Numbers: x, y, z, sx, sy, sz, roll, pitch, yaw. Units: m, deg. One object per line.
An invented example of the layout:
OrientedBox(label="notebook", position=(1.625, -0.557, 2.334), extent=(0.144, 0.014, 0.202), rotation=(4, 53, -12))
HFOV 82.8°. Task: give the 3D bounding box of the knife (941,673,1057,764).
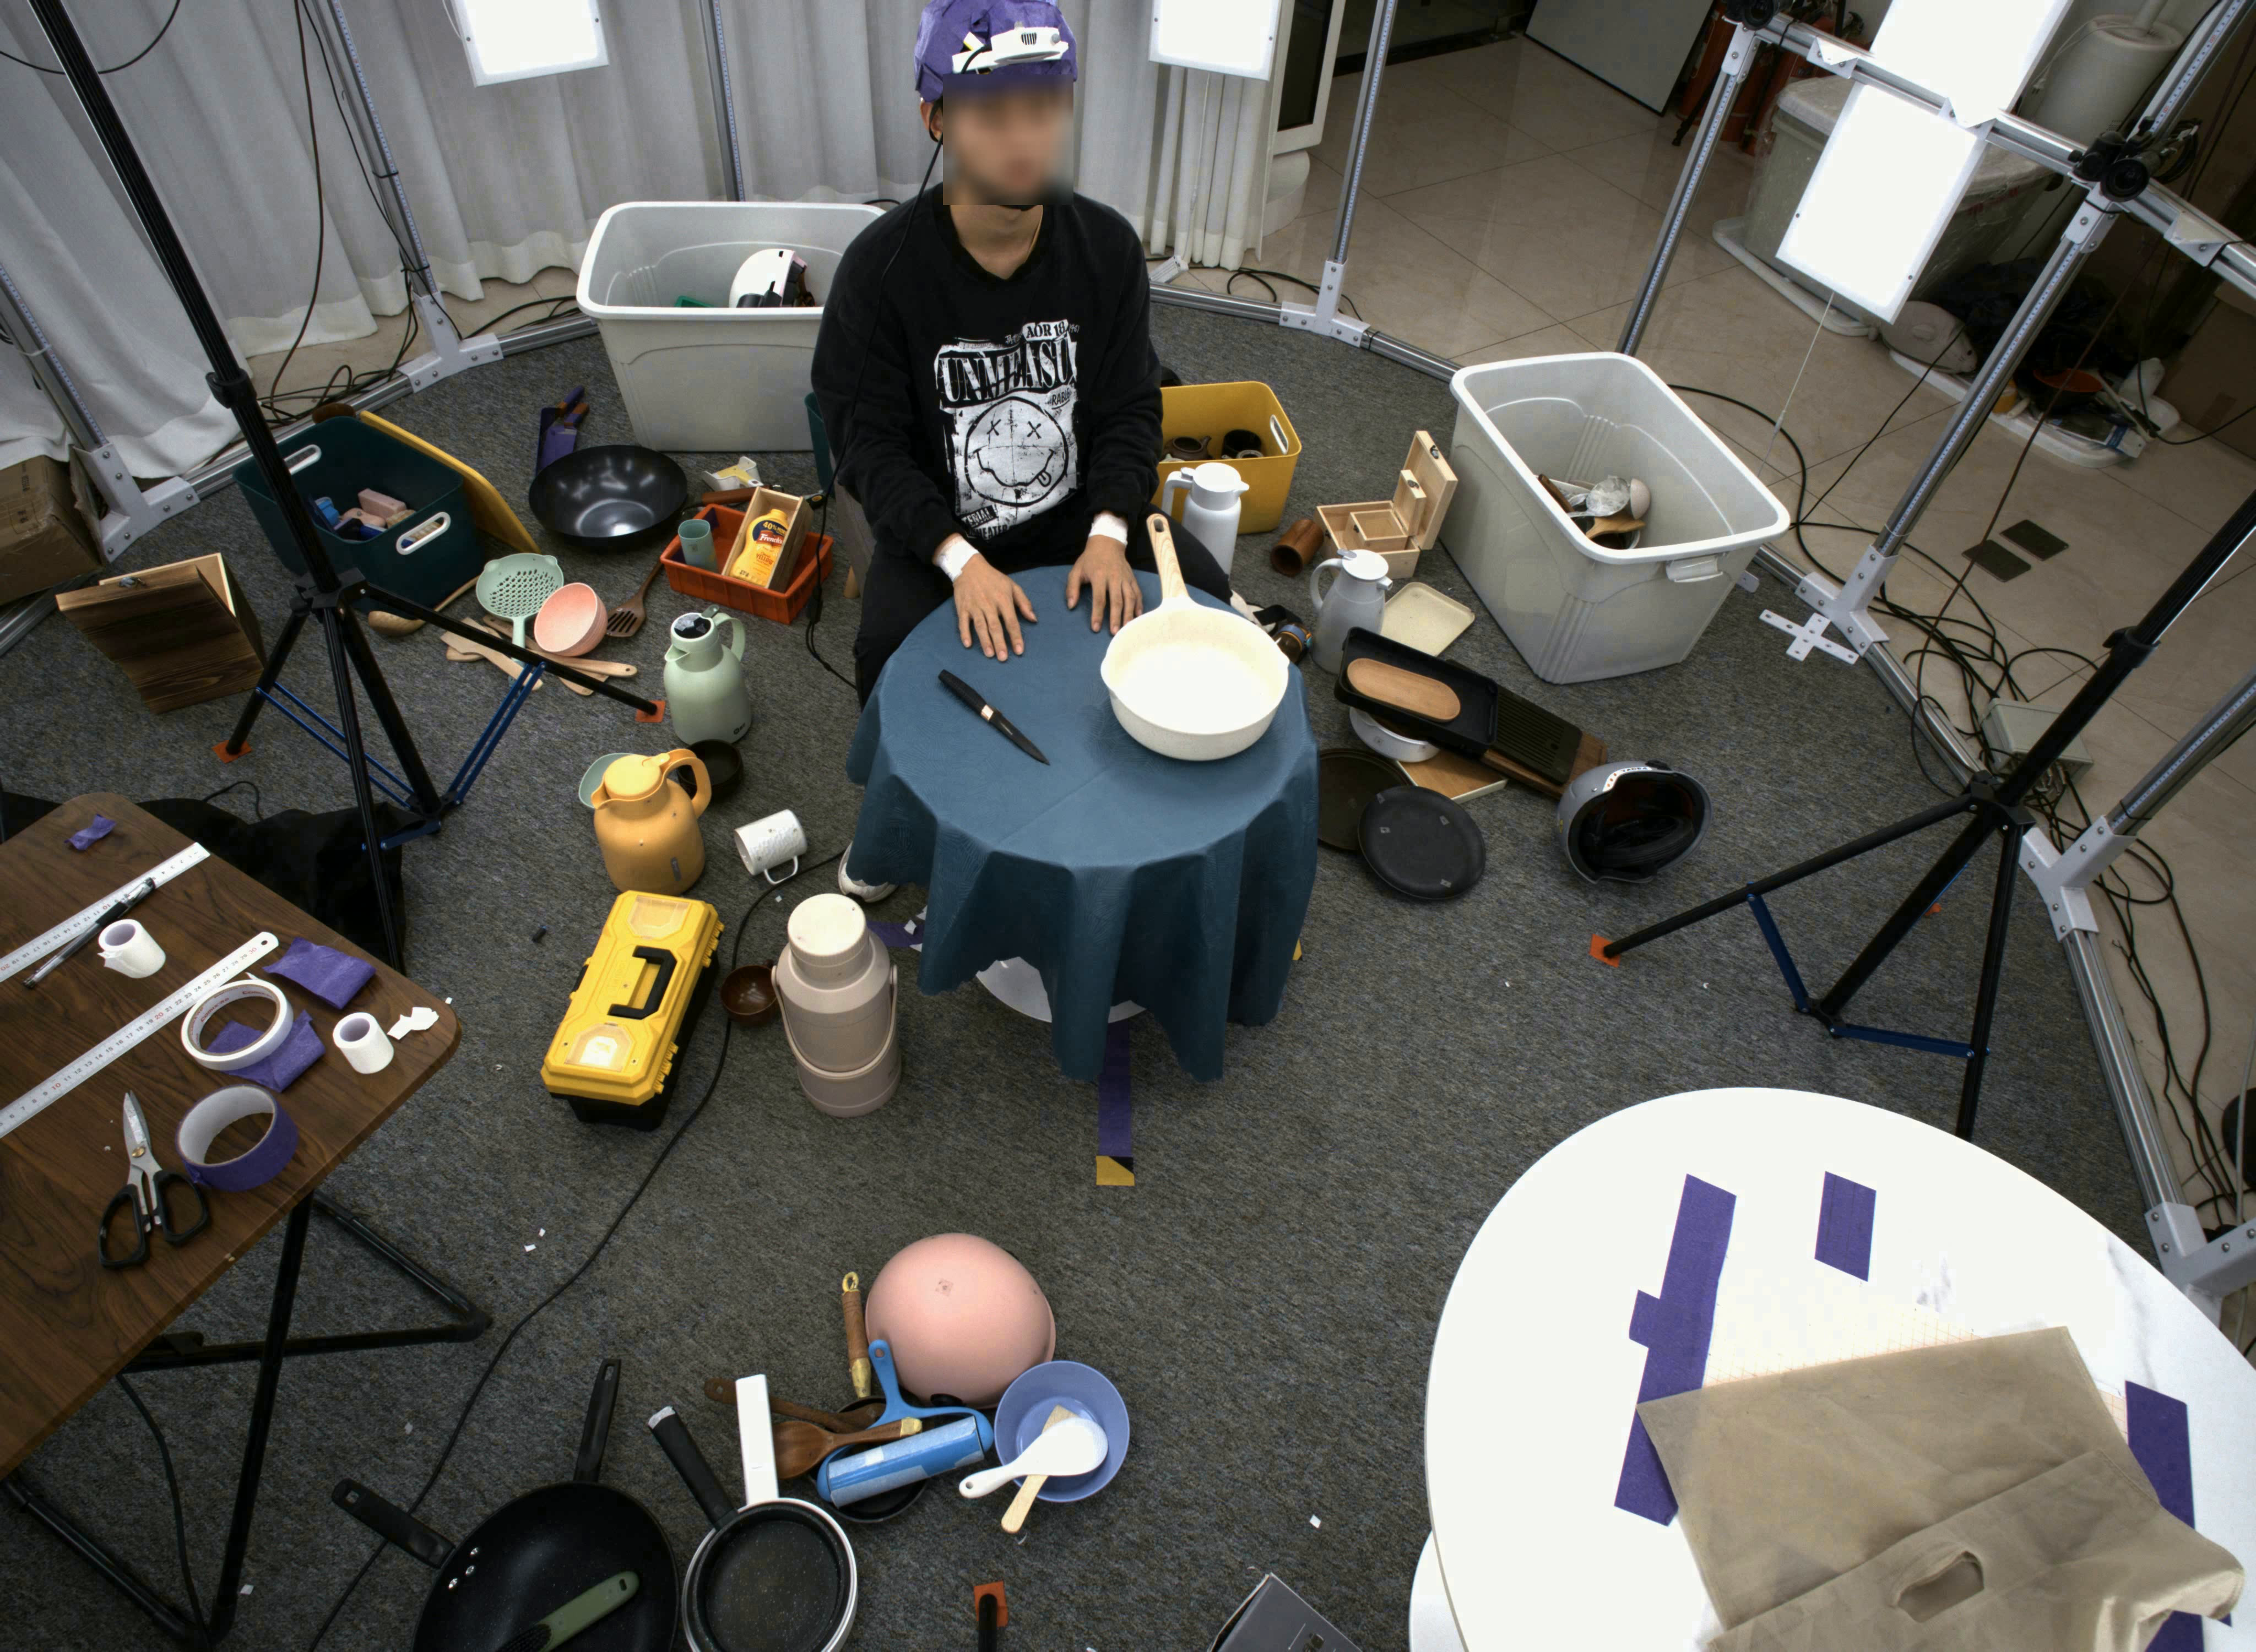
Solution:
OrientedBox(label="knife", position=(-0.181, -0.149, 1.782), extent=(0.229, 0.017, 0.026), rotation=(39, 42, 26))

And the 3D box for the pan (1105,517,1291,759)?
OrientedBox(label="pan", position=(0.080, -0.270, 1.844), extent=(0.263, 0.099, 0.446), rotation=(-7, 50, -8))
